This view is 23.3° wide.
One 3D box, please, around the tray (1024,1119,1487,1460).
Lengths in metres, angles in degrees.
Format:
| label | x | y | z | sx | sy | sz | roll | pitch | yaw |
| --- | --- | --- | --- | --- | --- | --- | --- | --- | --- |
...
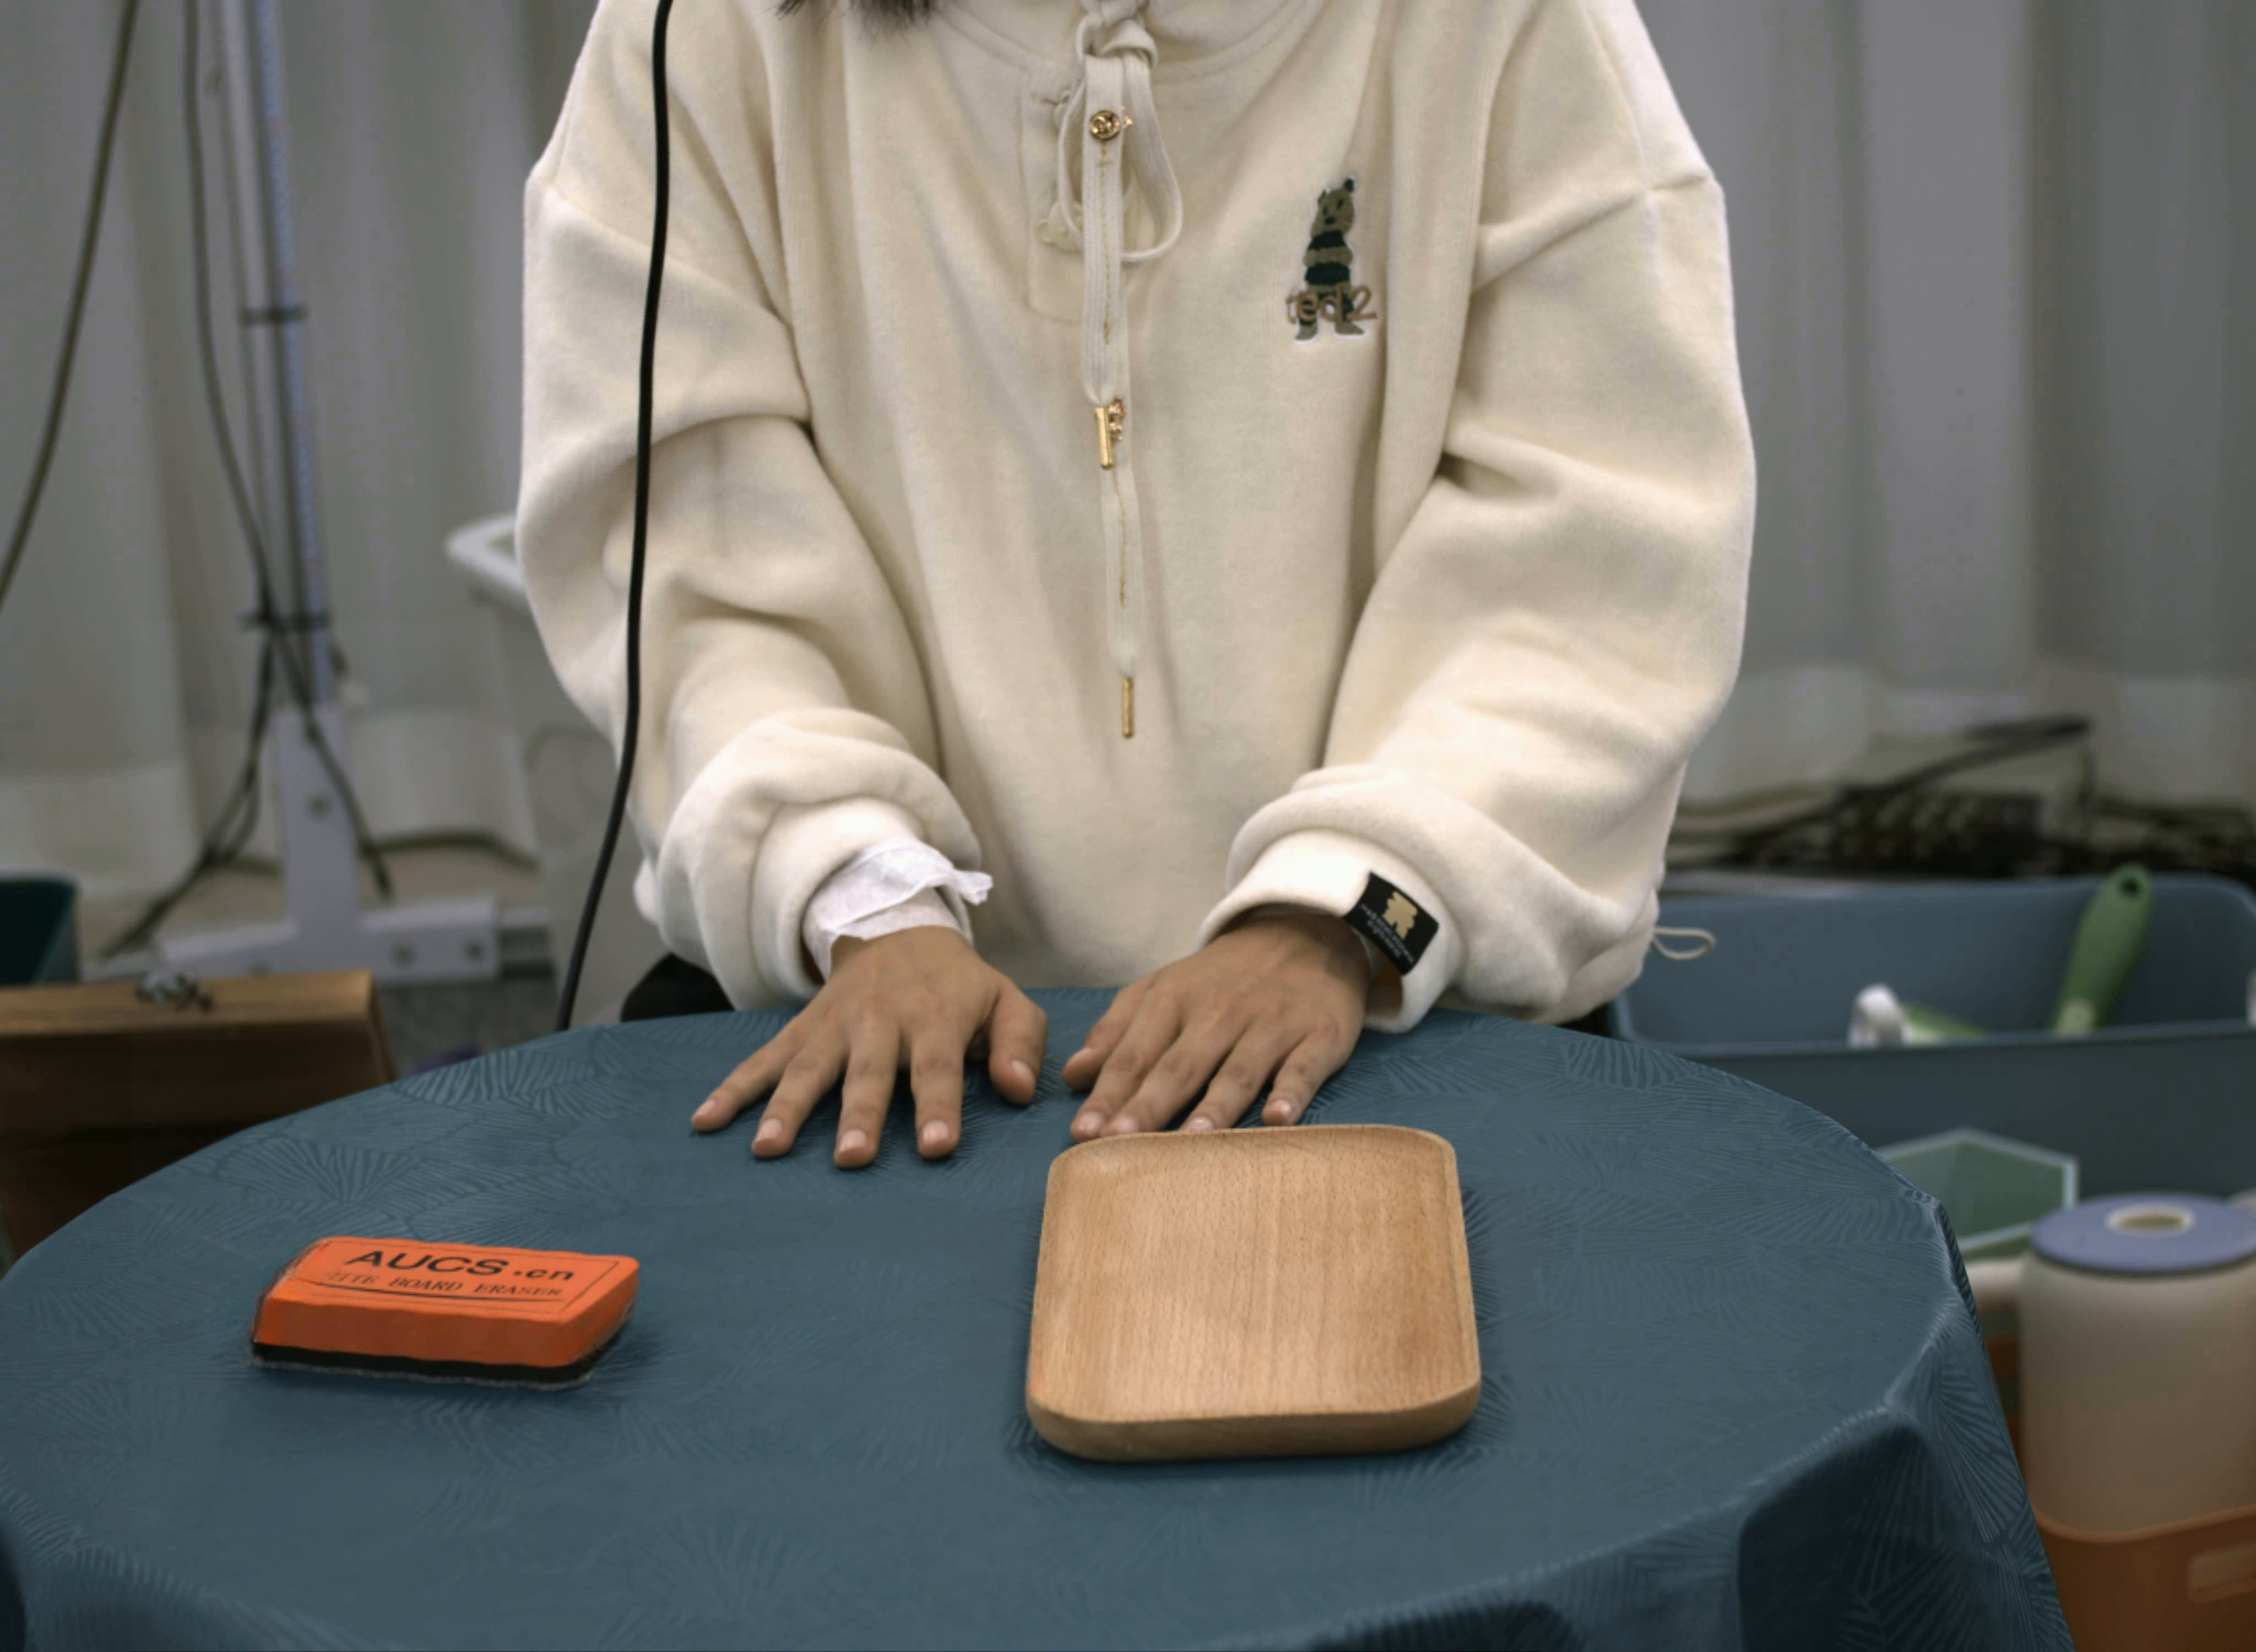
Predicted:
| label | x | y | z | sx | sy | sz | roll | pitch | yaw |
| --- | --- | --- | --- | --- | --- | --- | --- | --- | --- |
| tray | 0.038 | 0.133 | 1.602 | 0.130 | 0.023 | 0.252 | 1 | 15 | 3 |

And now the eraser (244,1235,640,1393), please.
| label | x | y | z | sx | sy | sz | roll | pitch | yaw |
| --- | --- | --- | --- | --- | --- | --- | --- | --- | --- |
| eraser | -0.200 | 0.143 | 1.602 | 0.108 | 0.023 | 0.059 | 3 | 16 | 20 |
